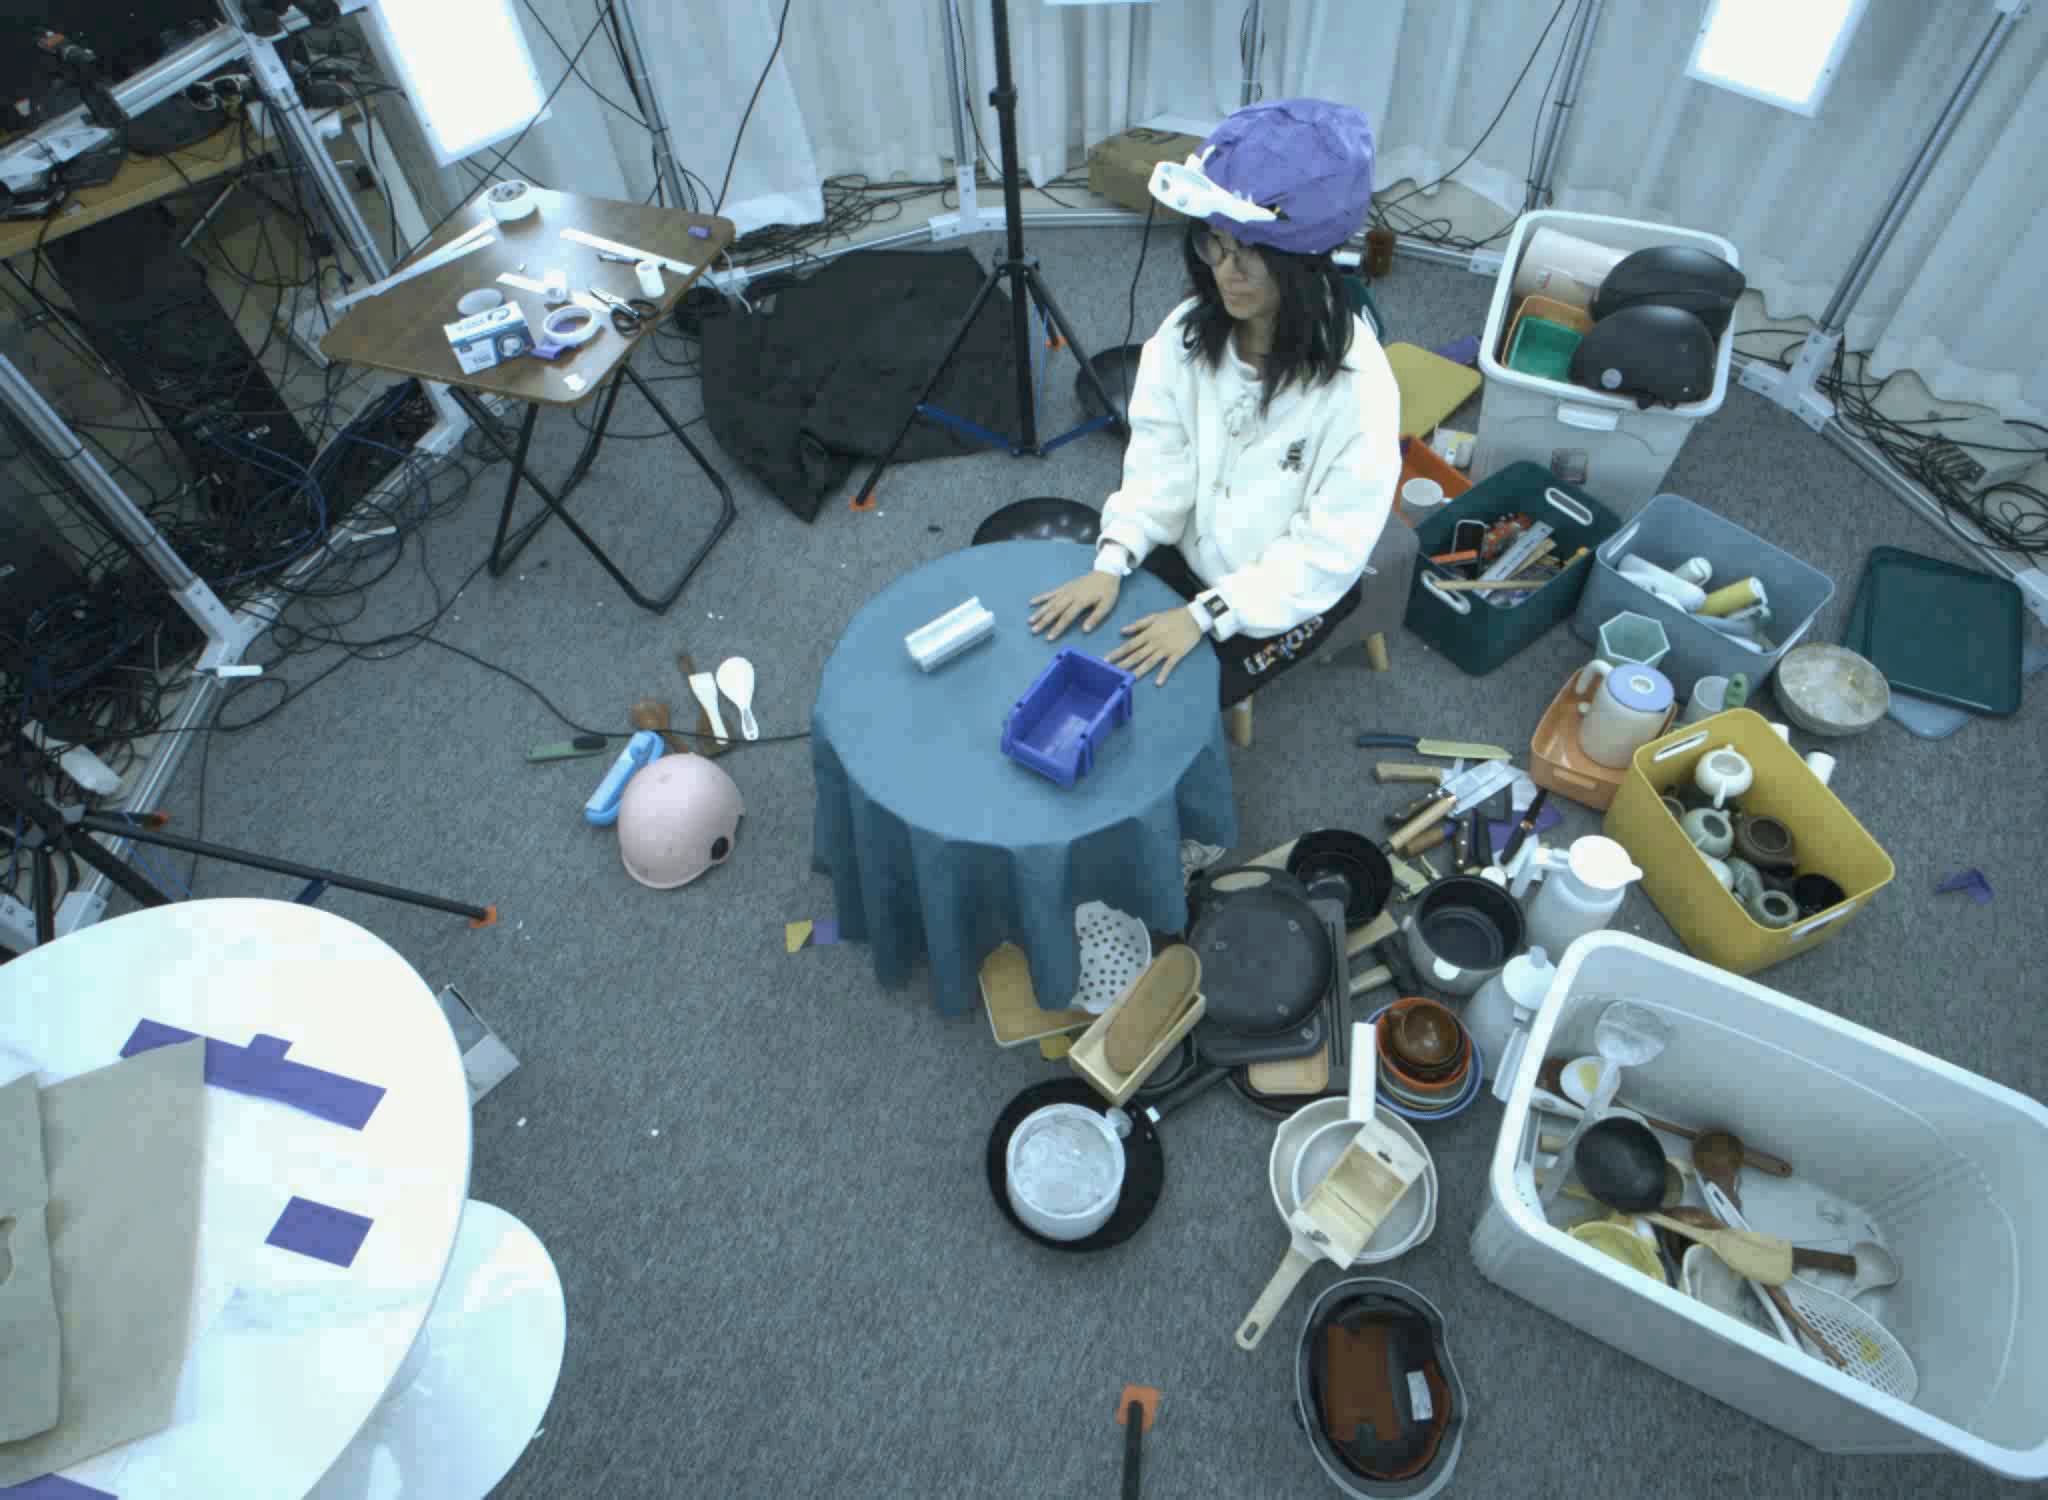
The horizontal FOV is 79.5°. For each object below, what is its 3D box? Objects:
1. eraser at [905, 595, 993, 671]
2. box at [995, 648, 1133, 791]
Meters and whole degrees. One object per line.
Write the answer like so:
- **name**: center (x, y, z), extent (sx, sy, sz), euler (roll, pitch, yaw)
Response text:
- **eraser**: center (-0.115, -0.180, 1.889), extent (0.135, 0.047, 0.049), euler (-36, 59, -19)
- **box**: center (0.059, -0.040, 1.764), extent (0.122, 0.083, 0.180), euler (29, 59, 21)
